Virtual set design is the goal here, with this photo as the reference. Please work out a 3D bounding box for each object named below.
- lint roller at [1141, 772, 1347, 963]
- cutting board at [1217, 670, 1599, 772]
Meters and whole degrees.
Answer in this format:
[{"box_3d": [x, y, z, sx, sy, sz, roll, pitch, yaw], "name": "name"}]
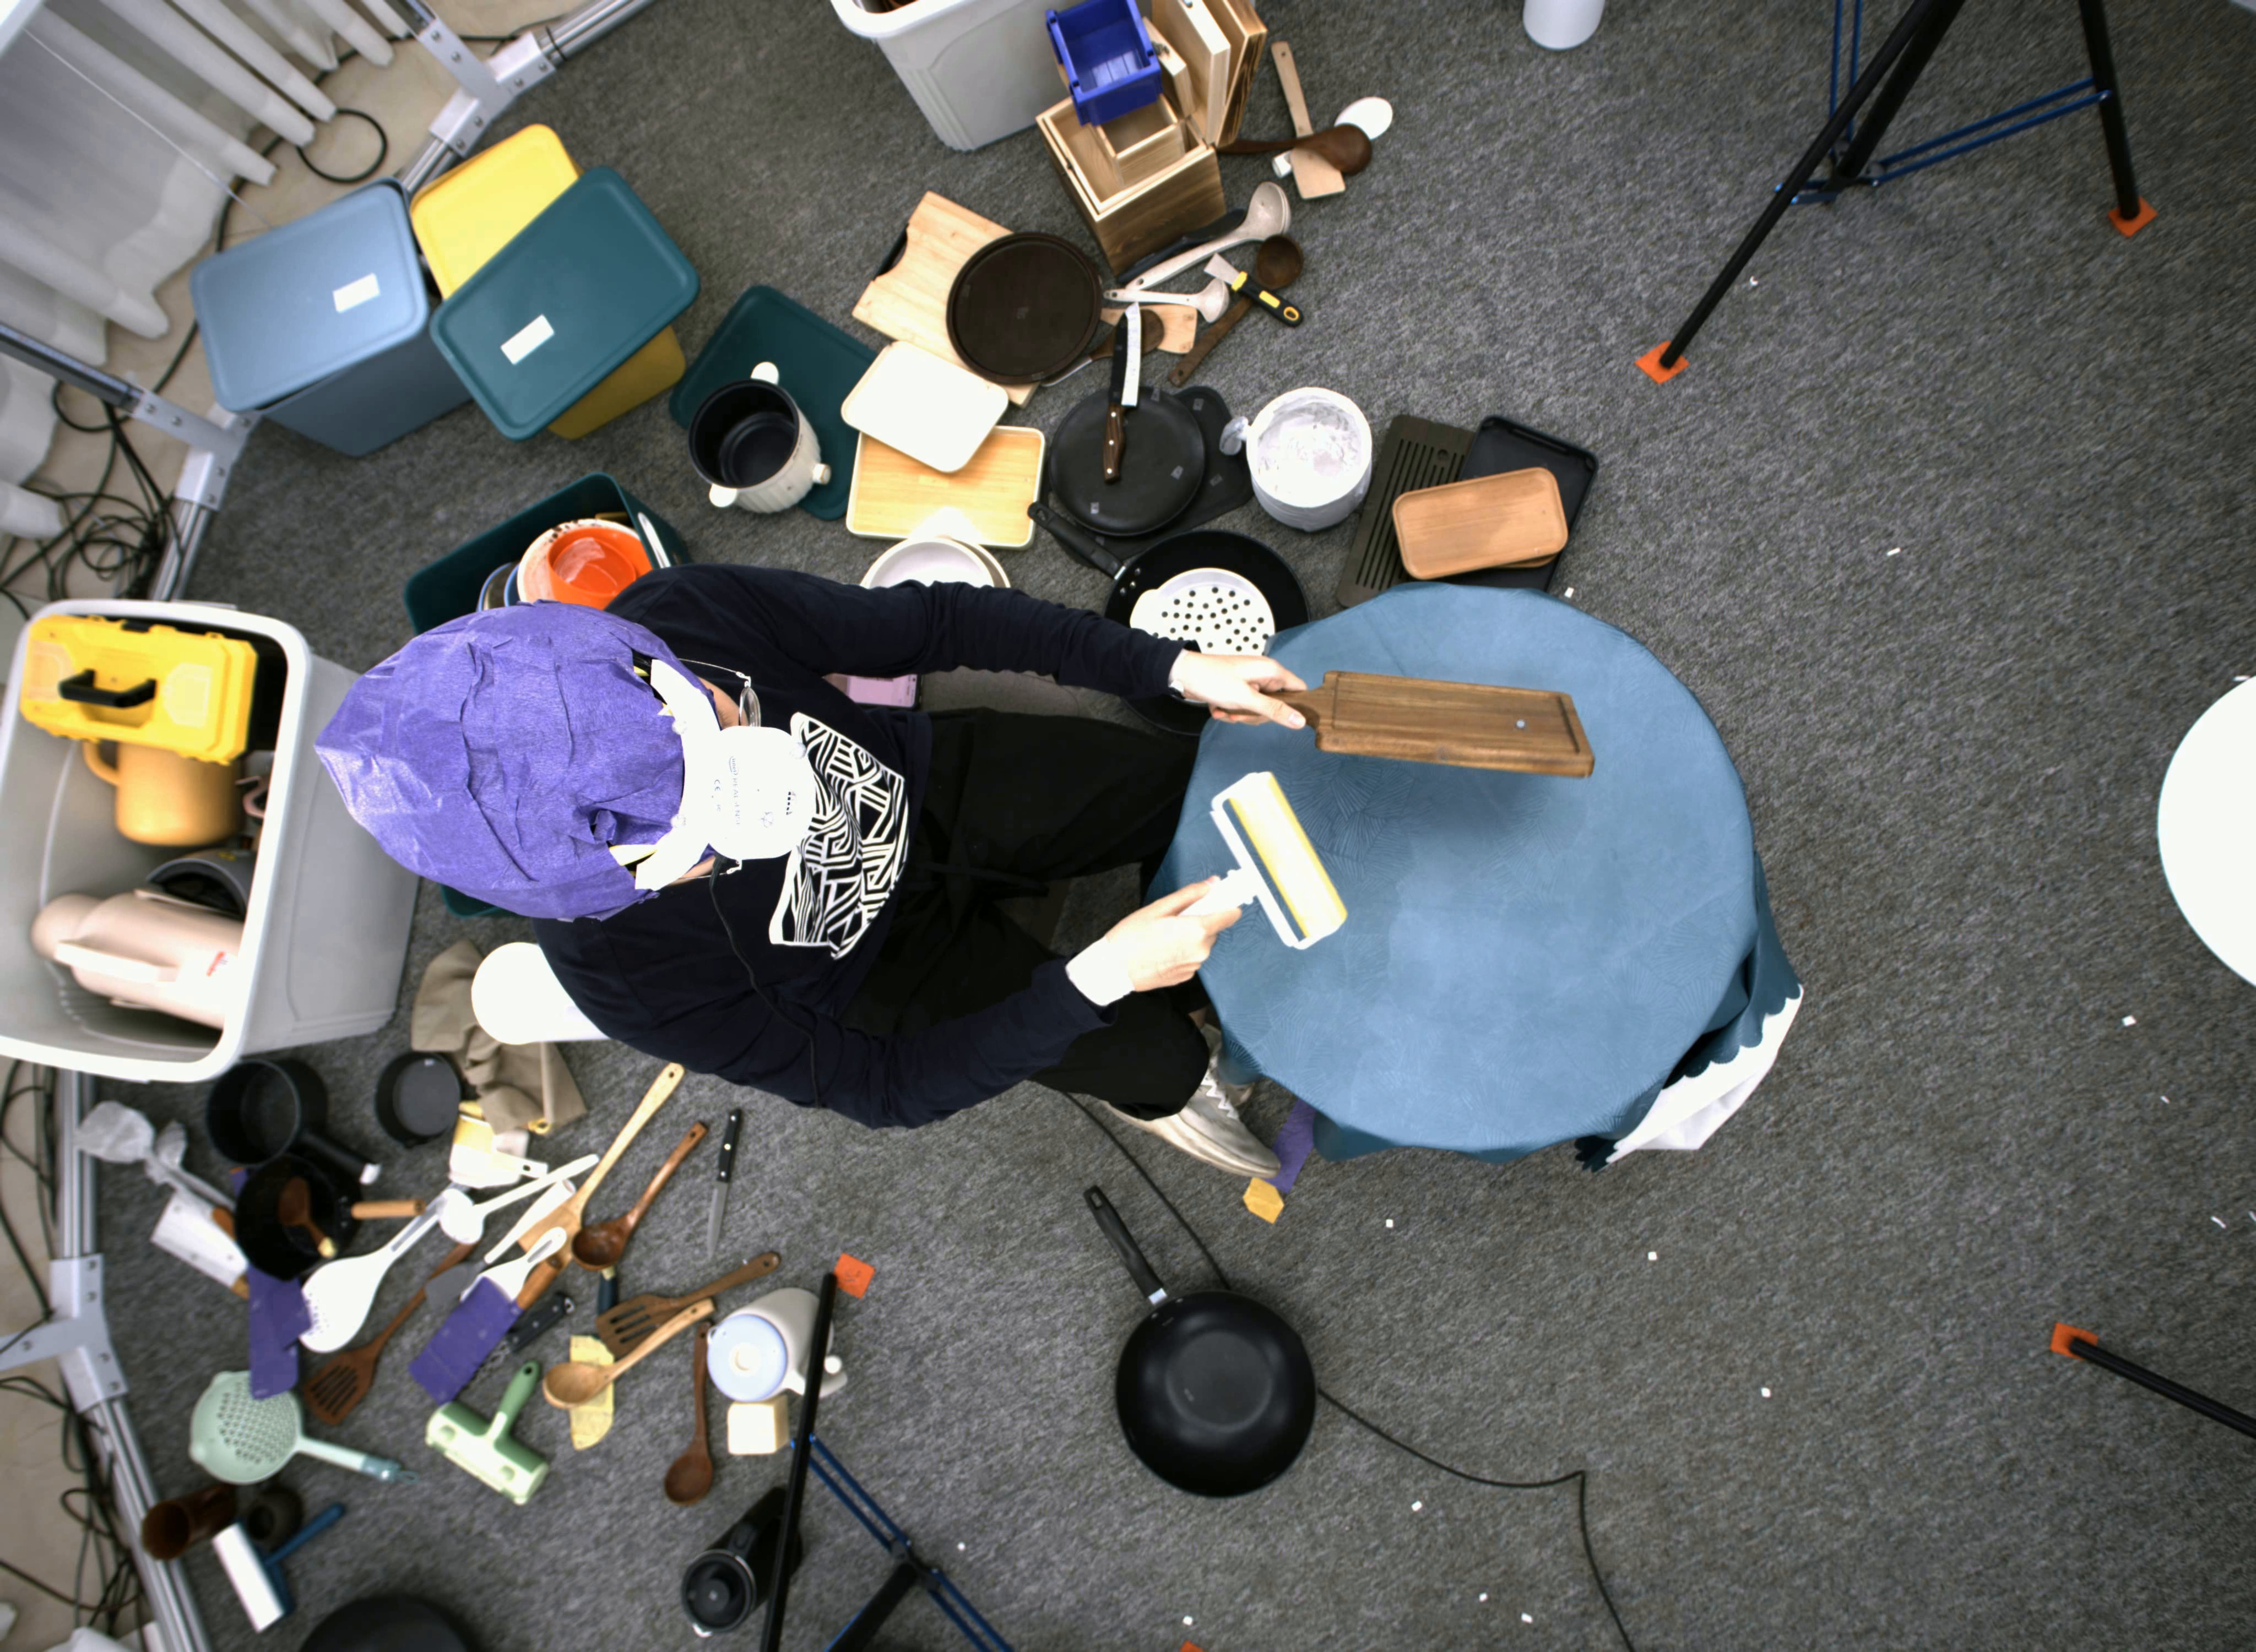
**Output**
[{"box_3d": [0.095, 0.068, 1.315, 0.189, 0.052, 0.175, -36, 102, -18], "name": "lint roller"}, {"box_3d": [0.262, -0.110, 1.329, 0.353, 0.196, 0.023, 5, 114, 8], "name": "cutting board"}]
